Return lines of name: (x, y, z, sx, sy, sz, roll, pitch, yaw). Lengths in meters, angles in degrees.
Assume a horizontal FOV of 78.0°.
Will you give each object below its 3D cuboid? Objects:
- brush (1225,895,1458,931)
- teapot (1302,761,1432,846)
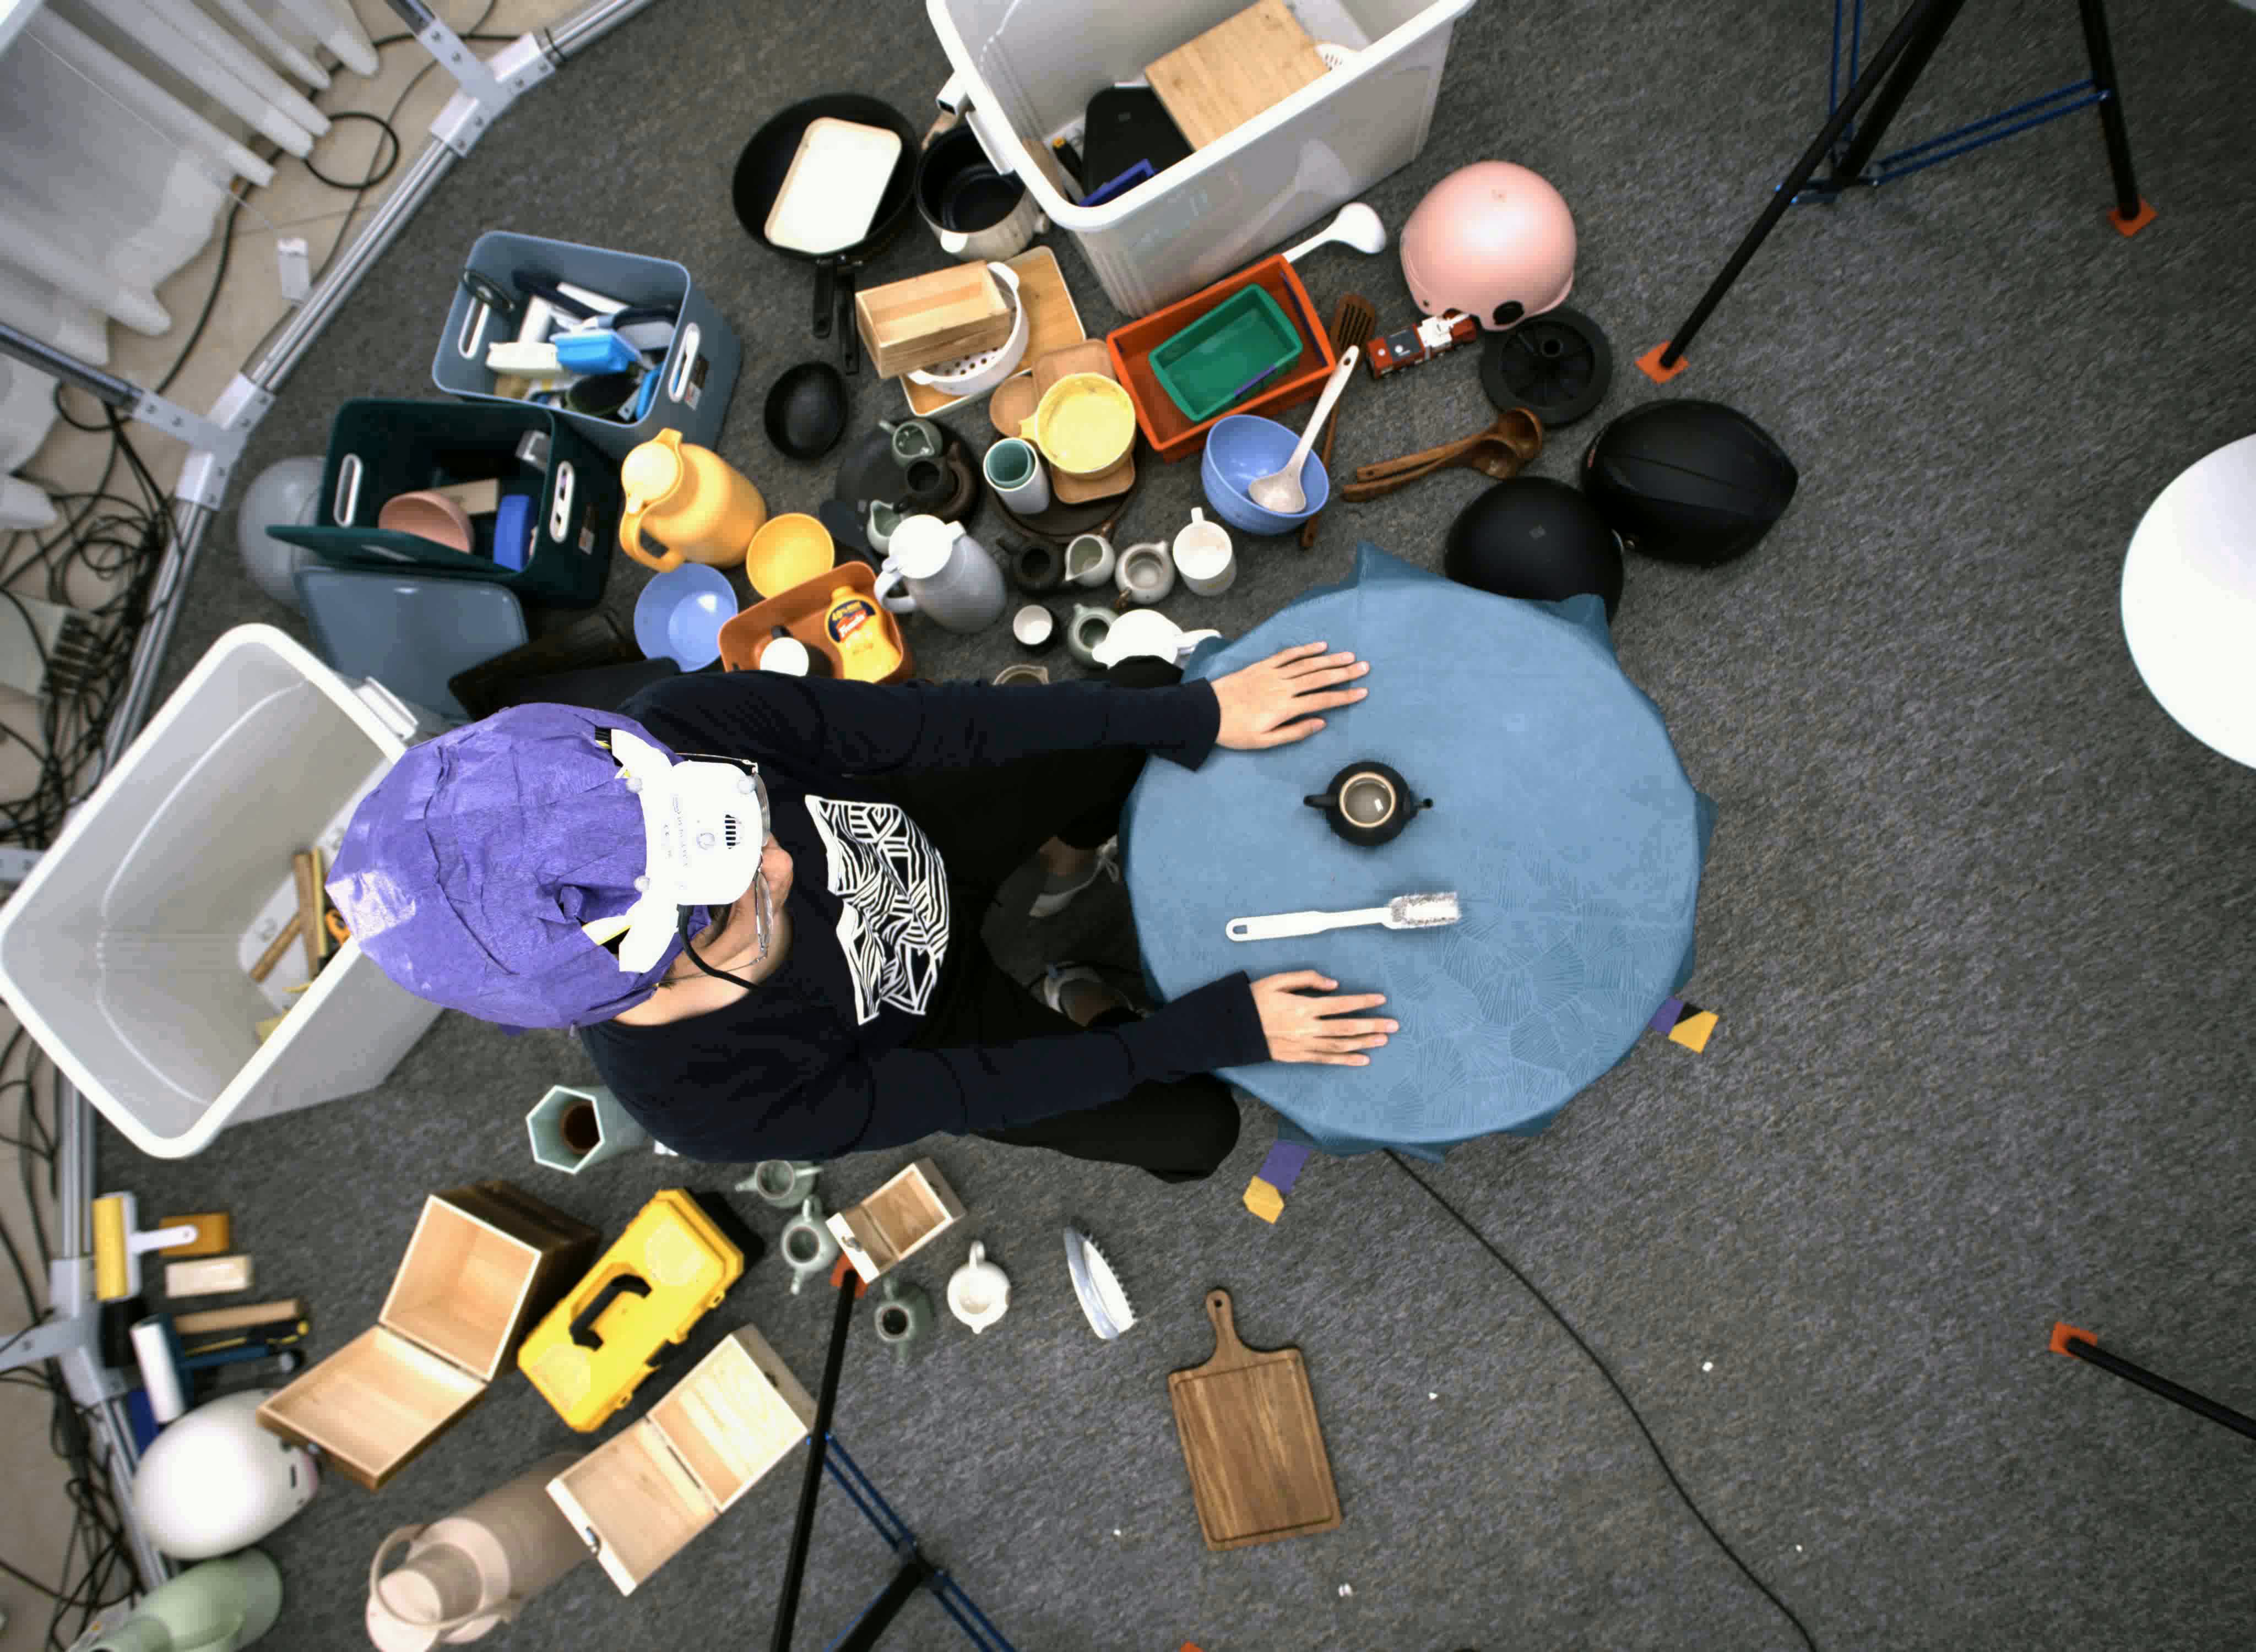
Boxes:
brush: (0.220, 0.092, 1.443, 0.245, 0.050, 0.034, -3, 89, 10)
teapot: (0.249, -0.025, 1.441, 0.133, 0.053, 0.090, 2, 84, 11)
